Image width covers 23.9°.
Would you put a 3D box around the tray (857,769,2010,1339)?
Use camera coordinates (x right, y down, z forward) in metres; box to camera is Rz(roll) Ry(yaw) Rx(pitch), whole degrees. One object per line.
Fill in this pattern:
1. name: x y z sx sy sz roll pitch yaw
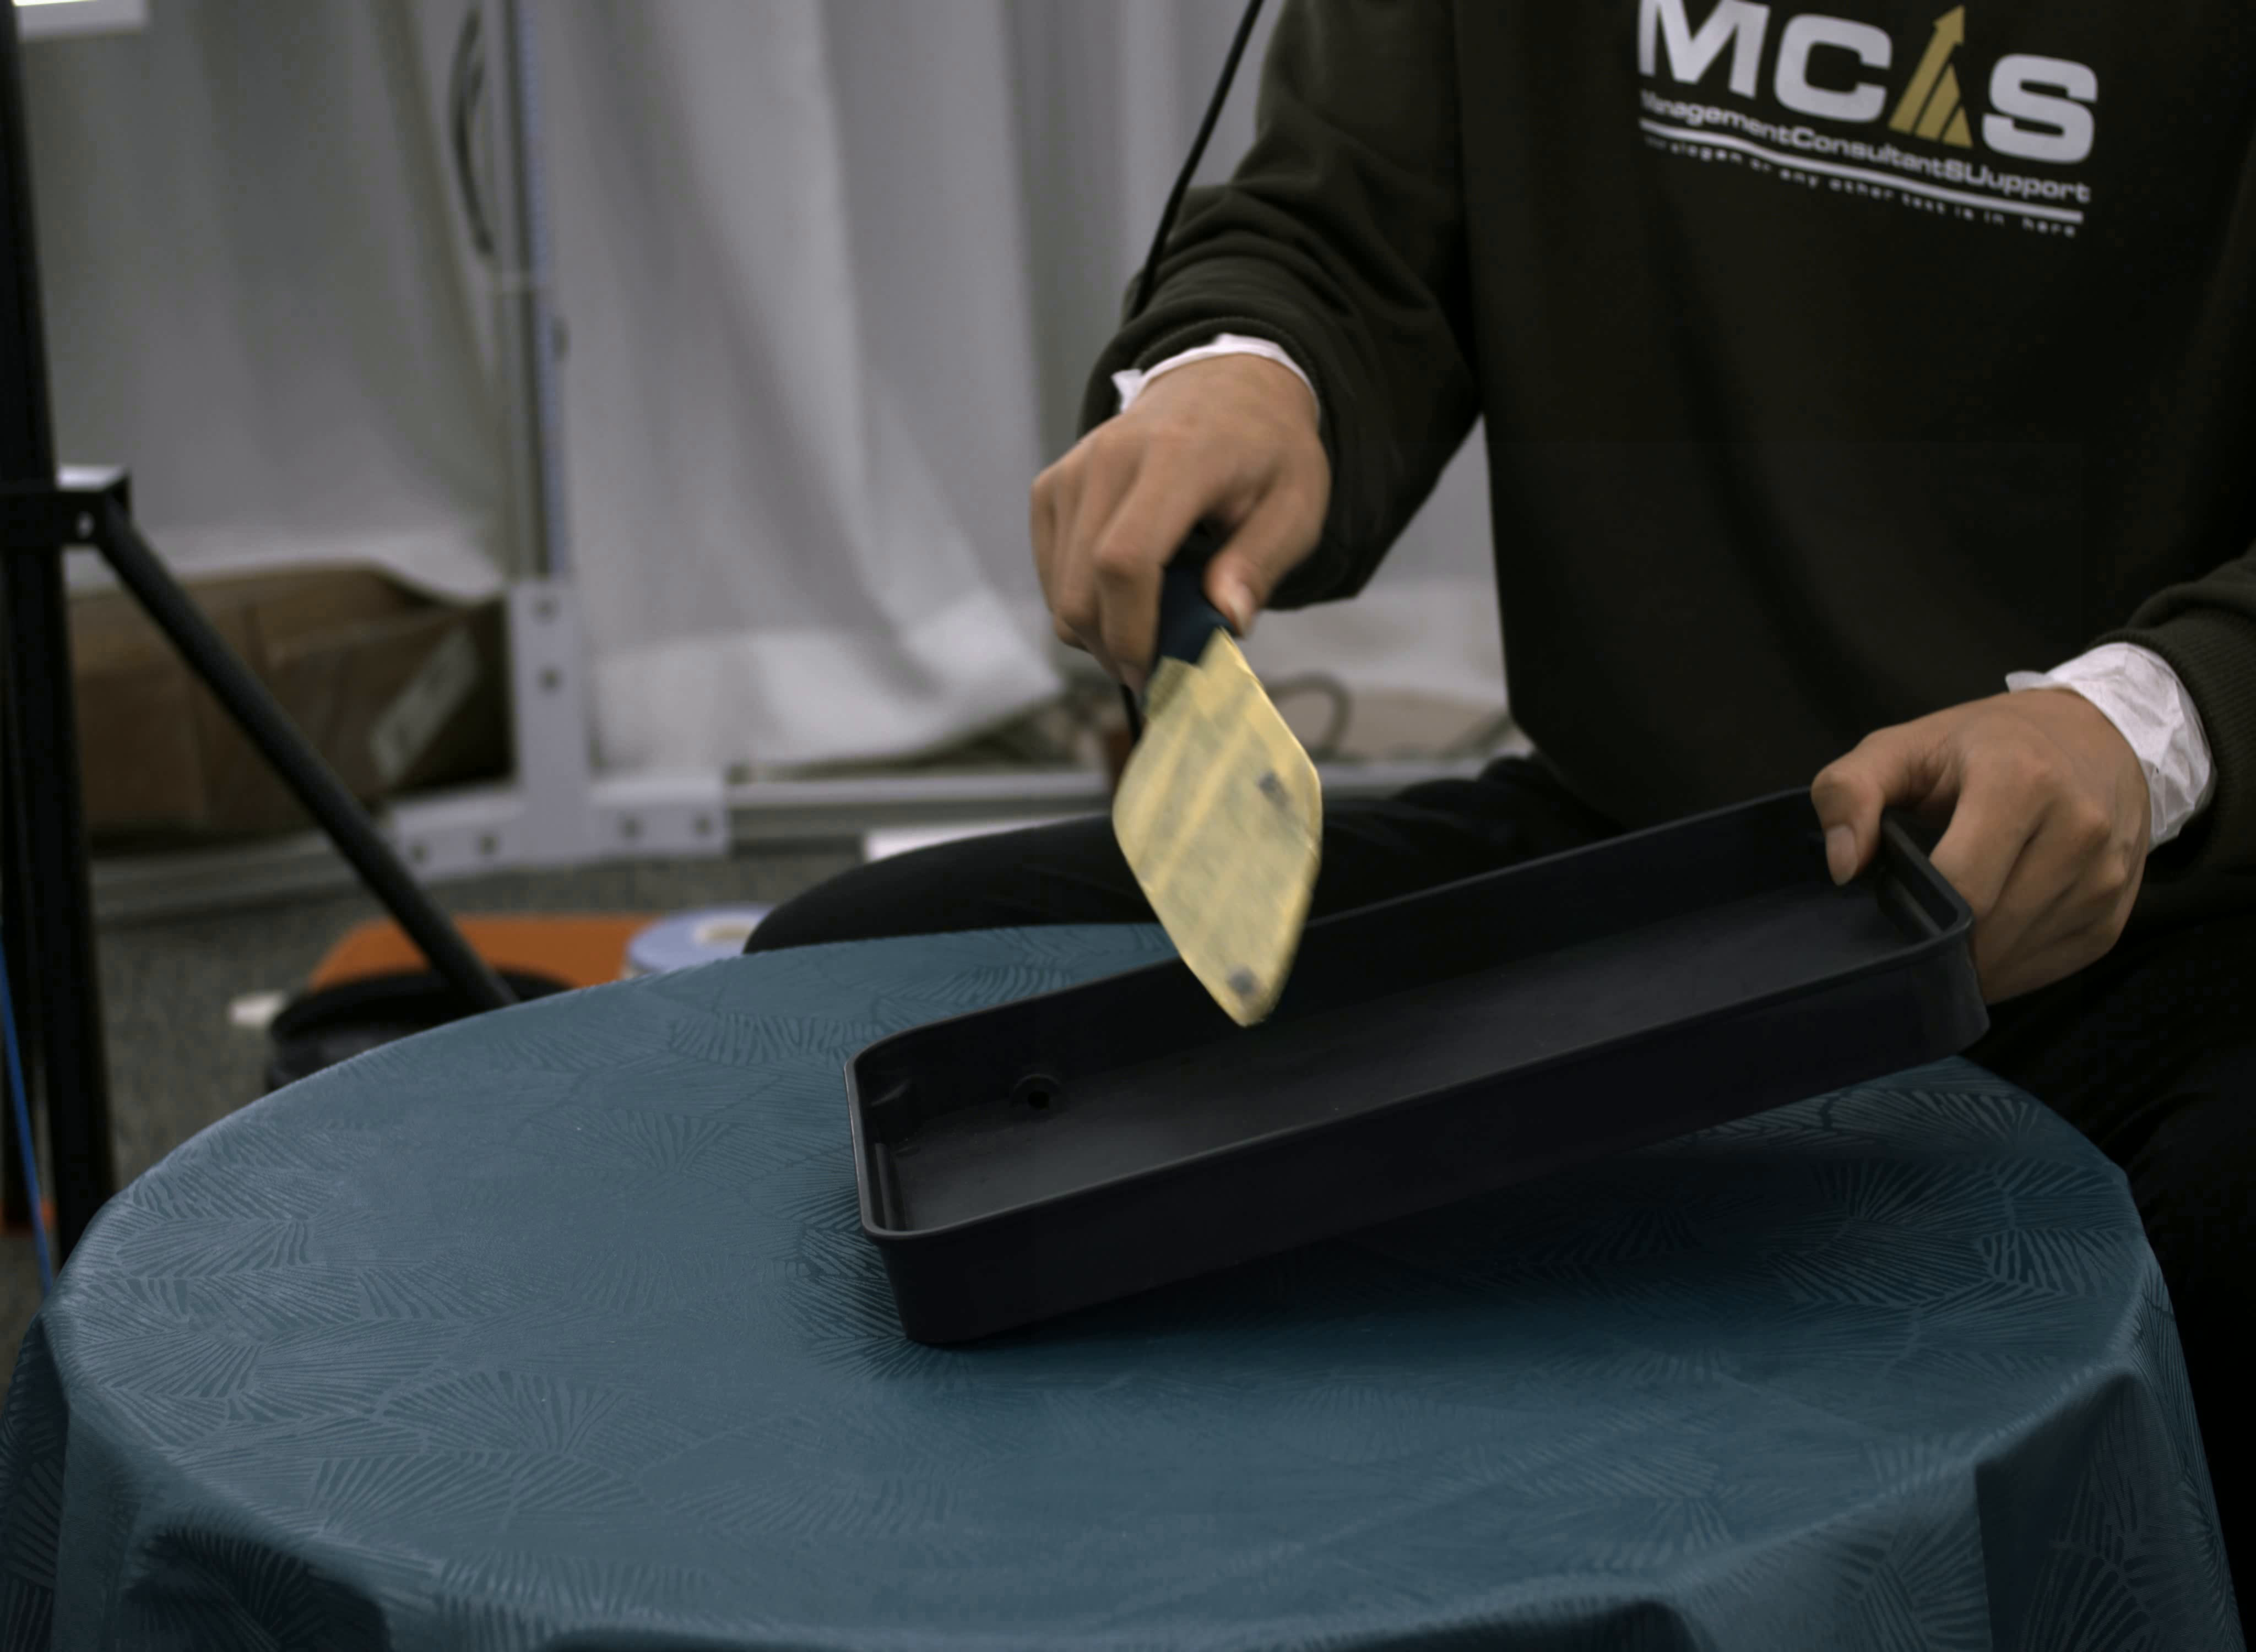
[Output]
1. tray: 0.083 0.062 1.519 0.316 0.037 0.185 -17 14 -1

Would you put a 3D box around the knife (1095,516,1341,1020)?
1. knife: 0.020 -0.022 1.578 0.027 0.081 0.293 25 19 -21
